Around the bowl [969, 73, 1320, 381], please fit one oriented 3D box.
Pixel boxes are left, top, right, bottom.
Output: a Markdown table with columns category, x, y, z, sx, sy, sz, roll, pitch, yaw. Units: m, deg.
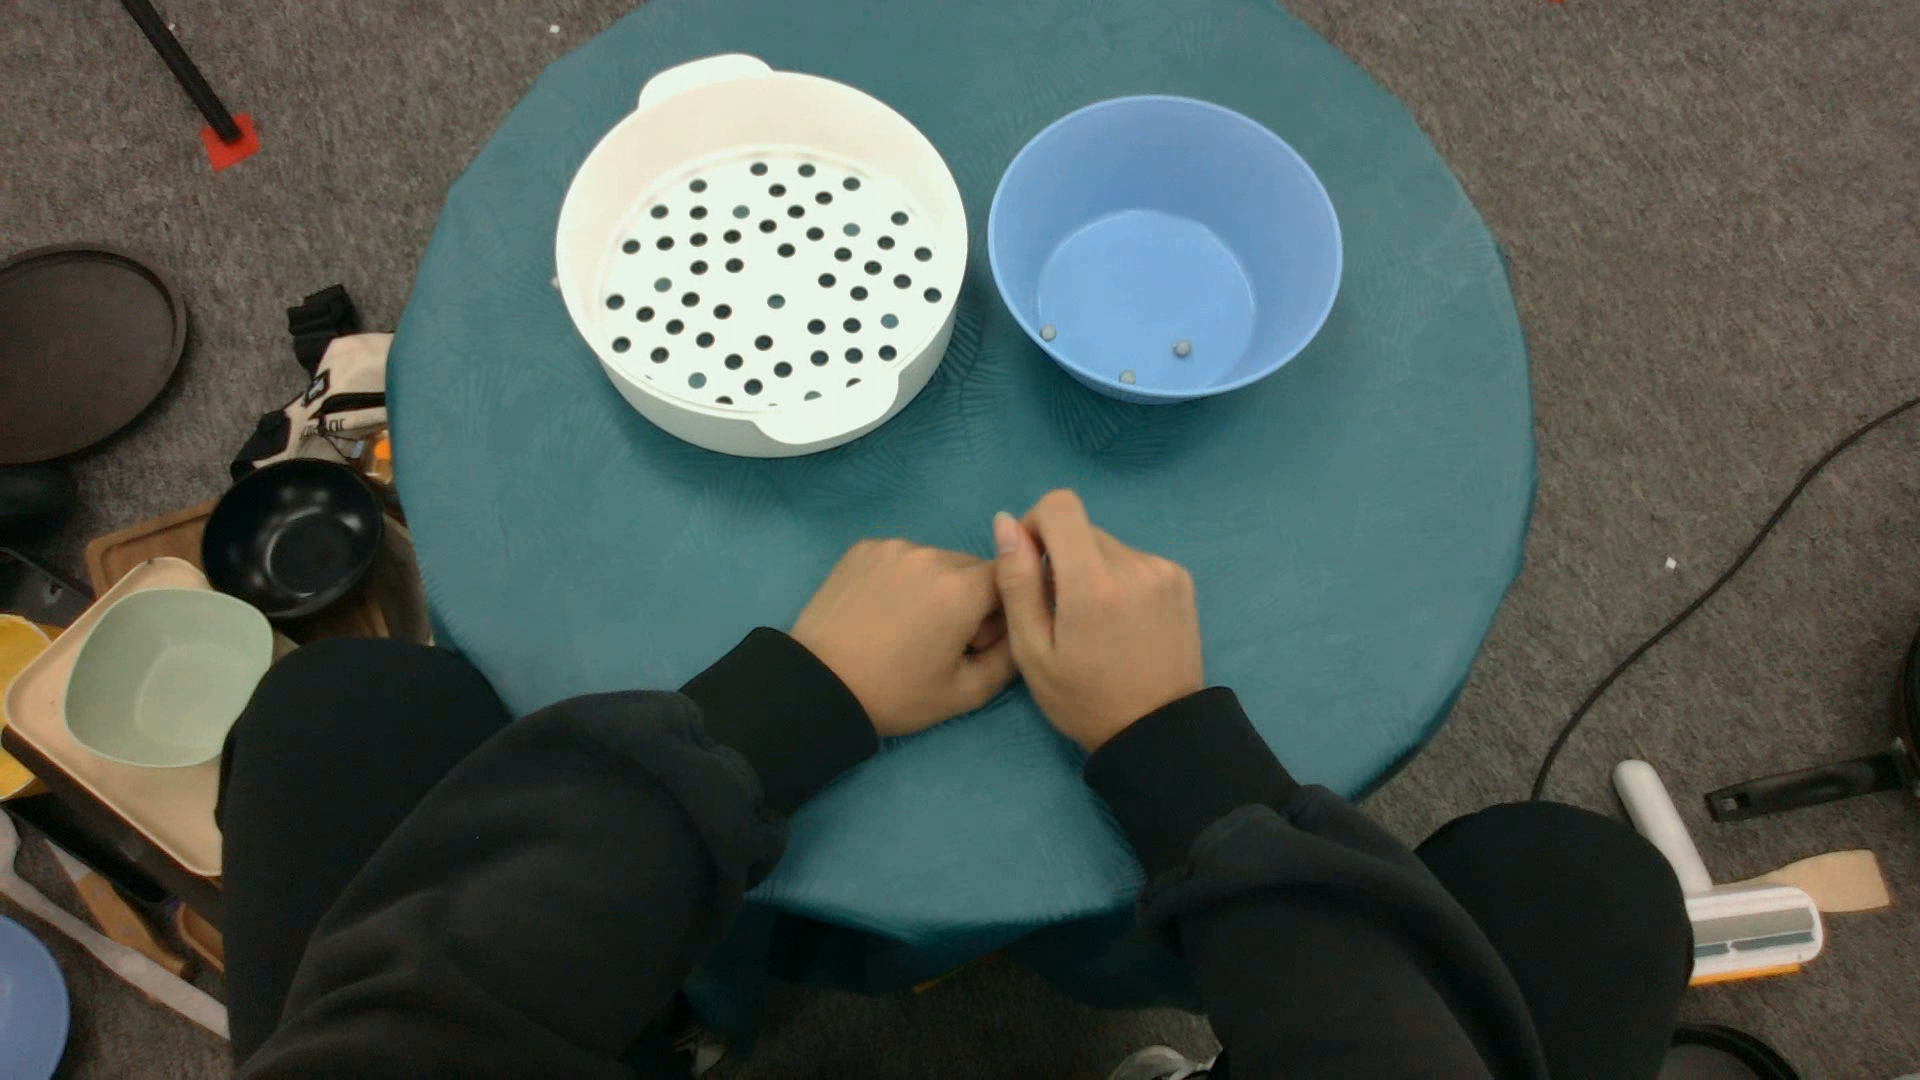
| category | x | y | z | sx | sy | sz | roll | pitch | yaw |
| --- | --- | --- | --- | --- | --- | --- | --- | --- | --- |
| bowl | 0.091 | -0.149 | 0.714 | 0.176 | 0.070 | 0.176 | 1 | 69 | -1 |

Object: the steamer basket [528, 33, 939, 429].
| category | x | y | z | sx | sy | sz | roll | pitch | yaw |
| --- | --- | --- | --- | --- | --- | --- | --- | --- | --- |
| steamer basket | -0.112 | -0.153 | 0.705 | 0.202 | 0.069 | 0.231 | -20 | 68 | -10 |
